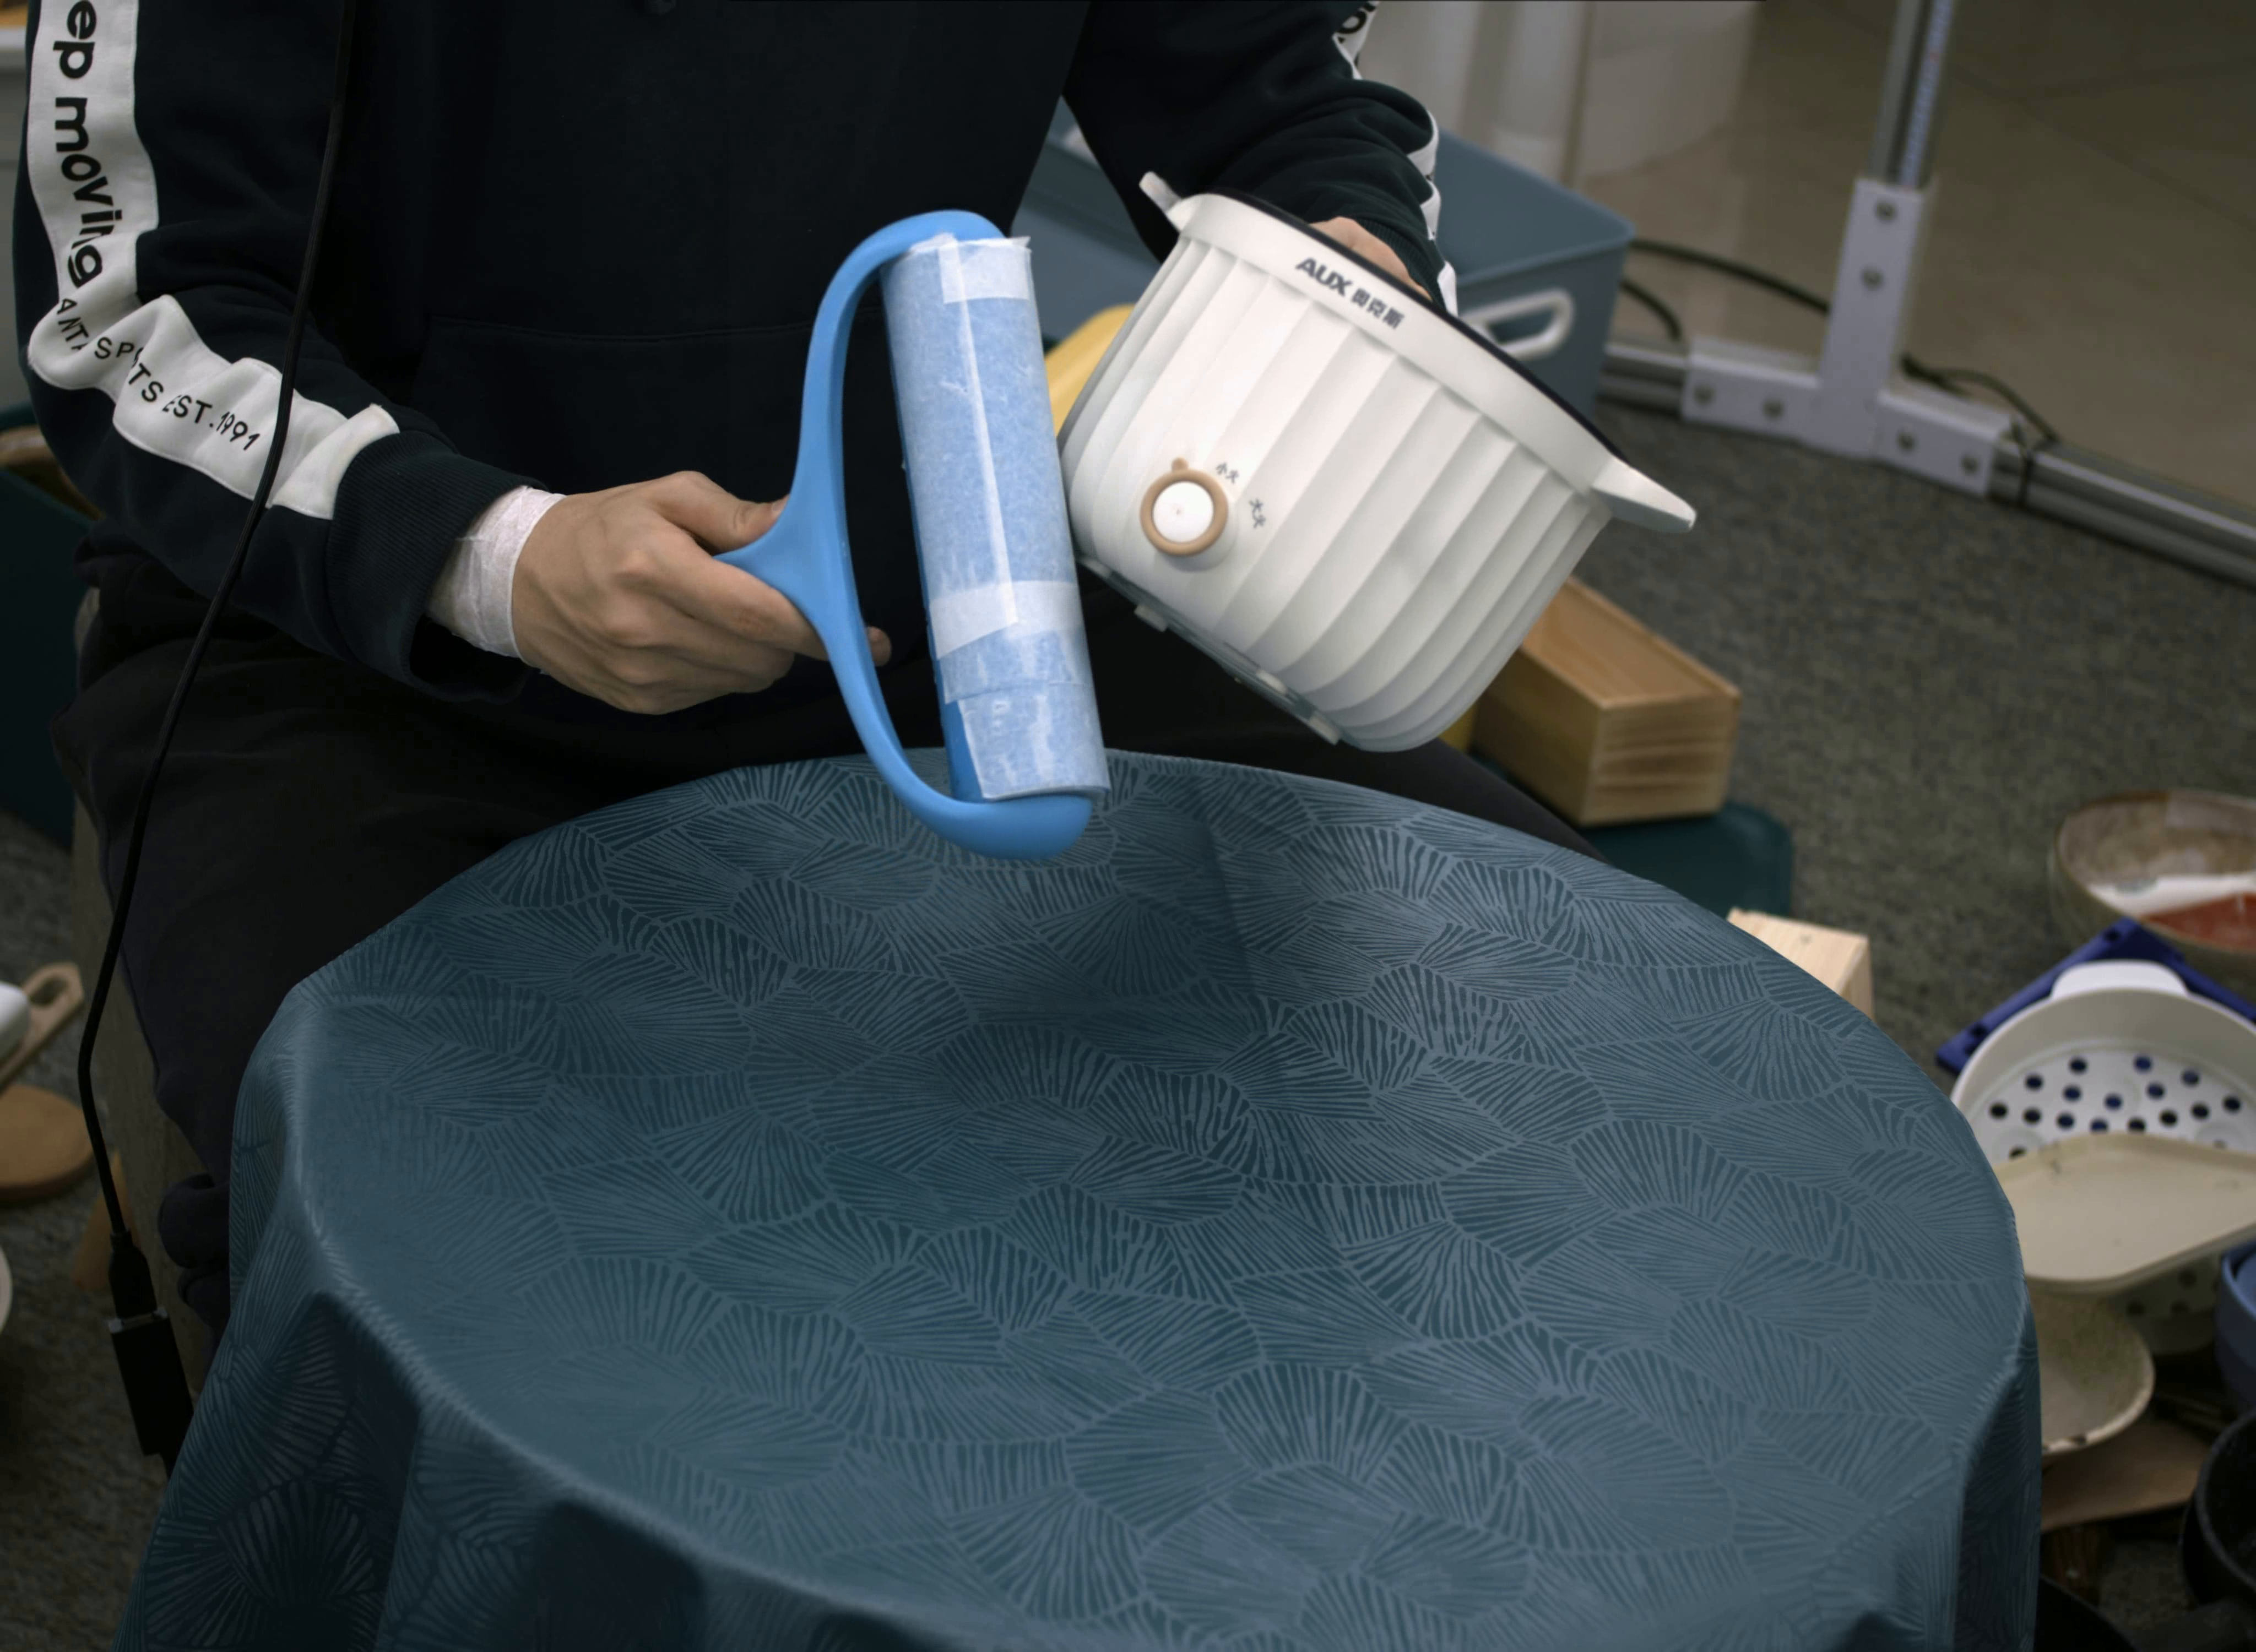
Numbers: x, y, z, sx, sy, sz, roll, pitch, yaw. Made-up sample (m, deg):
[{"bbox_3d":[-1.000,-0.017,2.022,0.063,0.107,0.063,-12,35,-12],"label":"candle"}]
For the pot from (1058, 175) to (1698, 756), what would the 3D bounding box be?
[{"bbox_3d":[0.066,-0.117,1.858,0.241,0.143,0.189,32,-5,19],"label":"pot"}]

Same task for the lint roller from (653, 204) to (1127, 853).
[{"bbox_3d":[-0.097,-0.087,1.841,0.180,0.230,0.067,-17,-12,21],"label":"lint roller"}]
